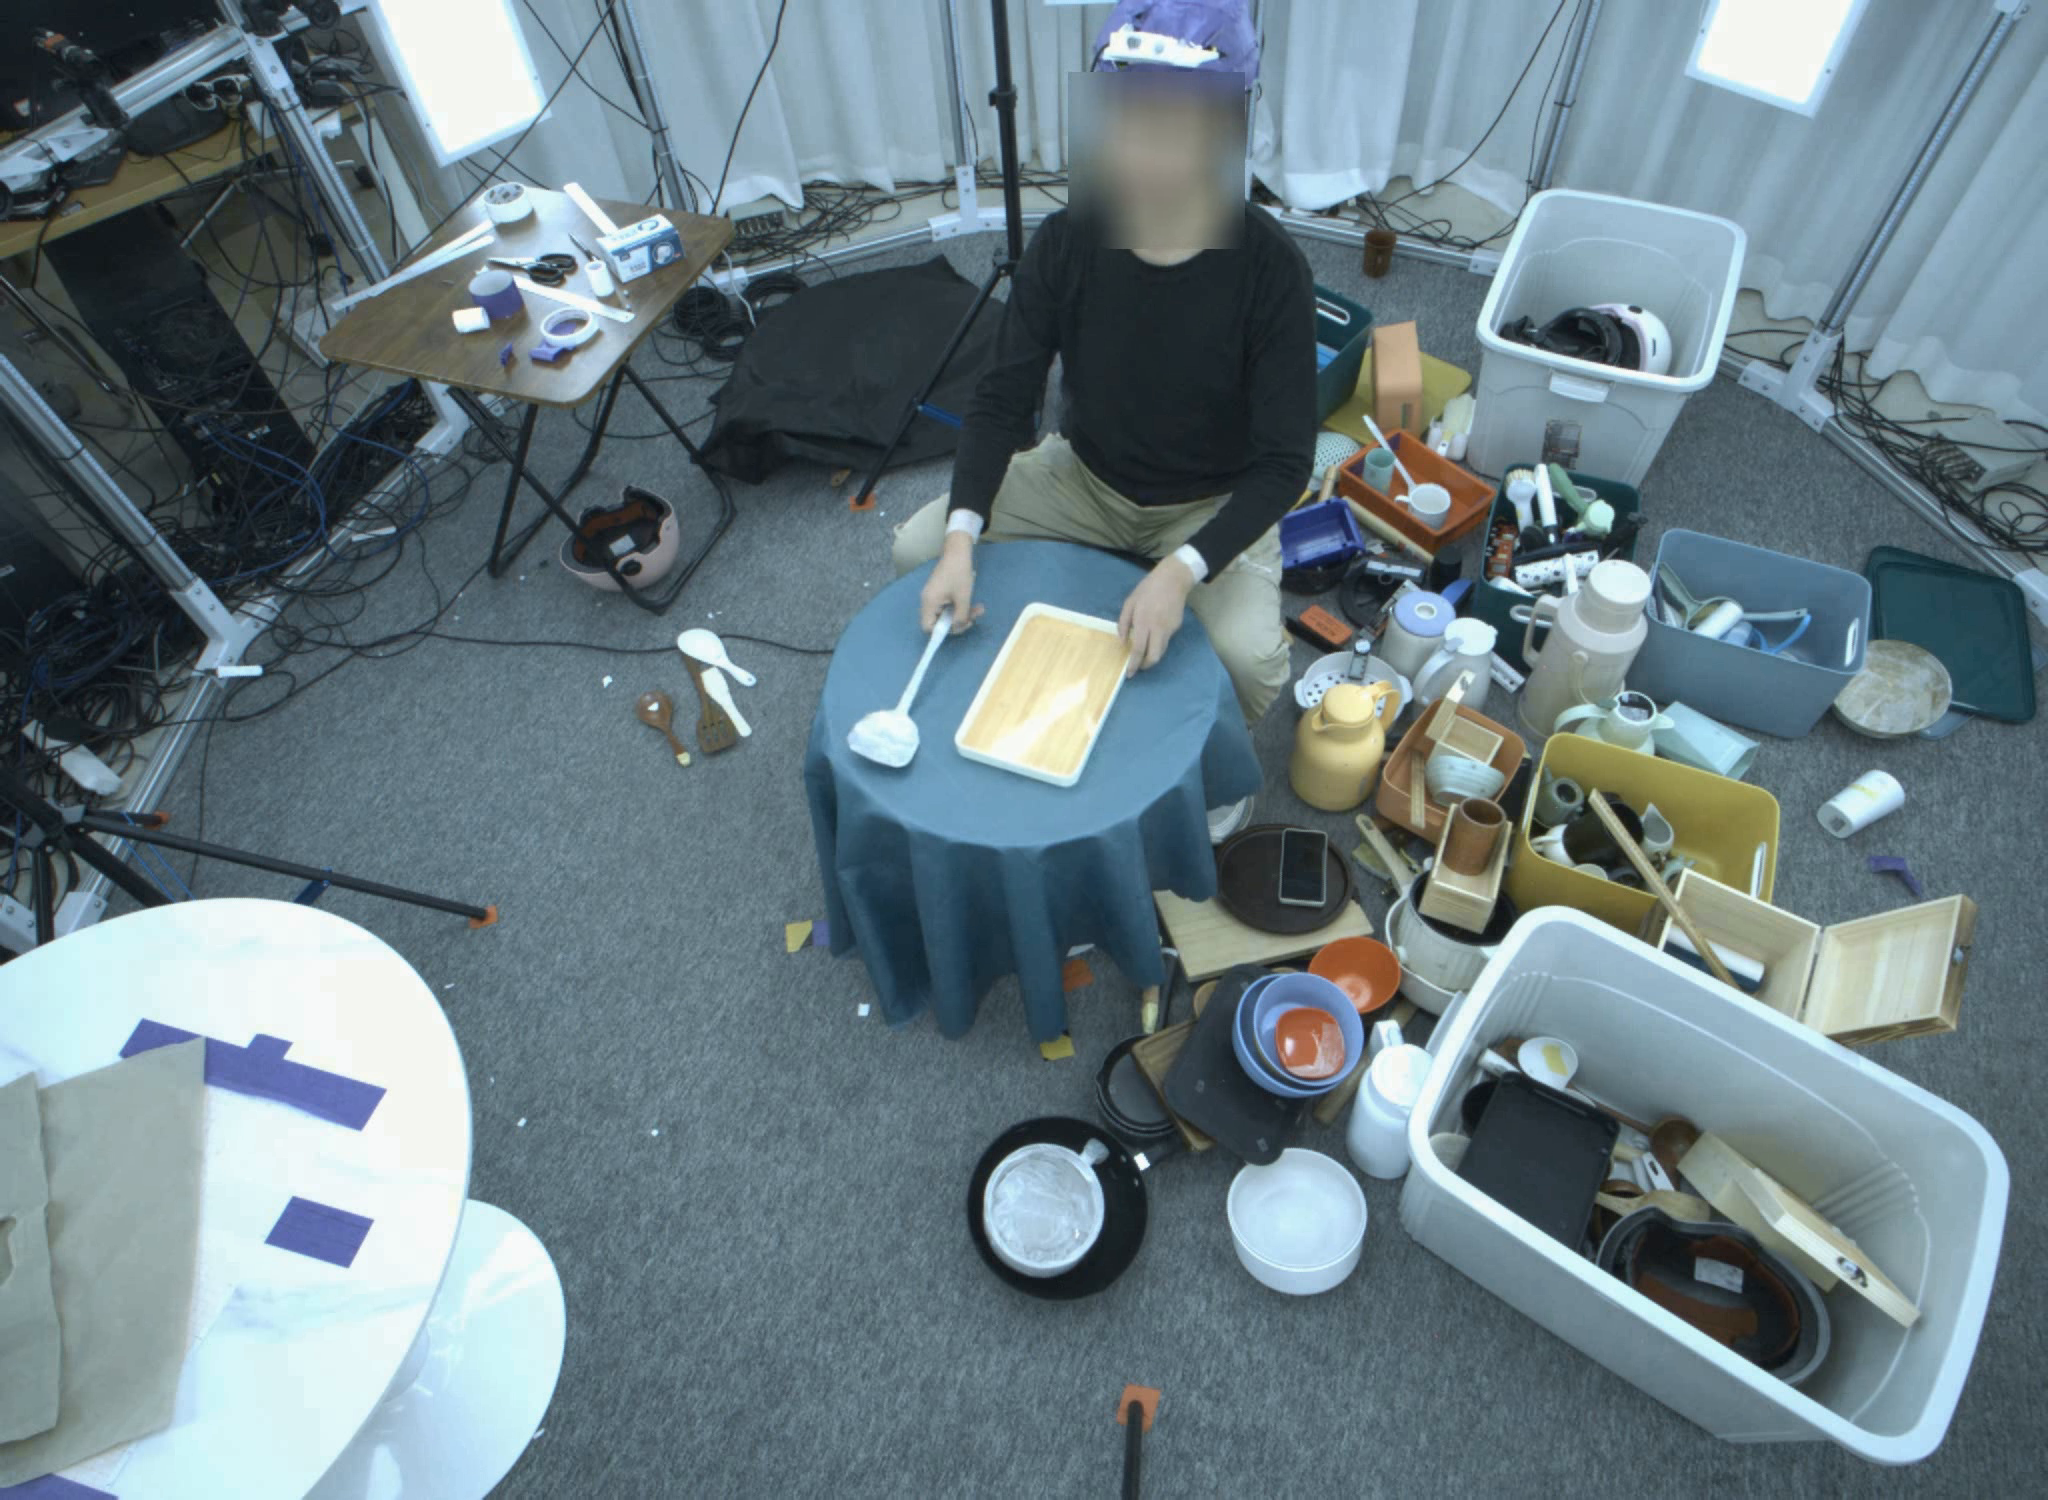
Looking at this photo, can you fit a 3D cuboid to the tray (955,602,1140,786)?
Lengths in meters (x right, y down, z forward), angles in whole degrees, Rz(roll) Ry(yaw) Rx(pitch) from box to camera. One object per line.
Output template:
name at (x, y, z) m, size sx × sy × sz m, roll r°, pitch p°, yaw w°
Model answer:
tray at (0.039, -0.089, 1.833) m, size 0.189 × 0.028 × 0.300 m, roll 18°, pitch 57°, yaw 14°

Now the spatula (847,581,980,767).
spatula at (-0.148, -0.128, 1.839) m, size 0.098 × 0.045 × 0.364 m, roll 24°, pitch 66°, yaw 2°
